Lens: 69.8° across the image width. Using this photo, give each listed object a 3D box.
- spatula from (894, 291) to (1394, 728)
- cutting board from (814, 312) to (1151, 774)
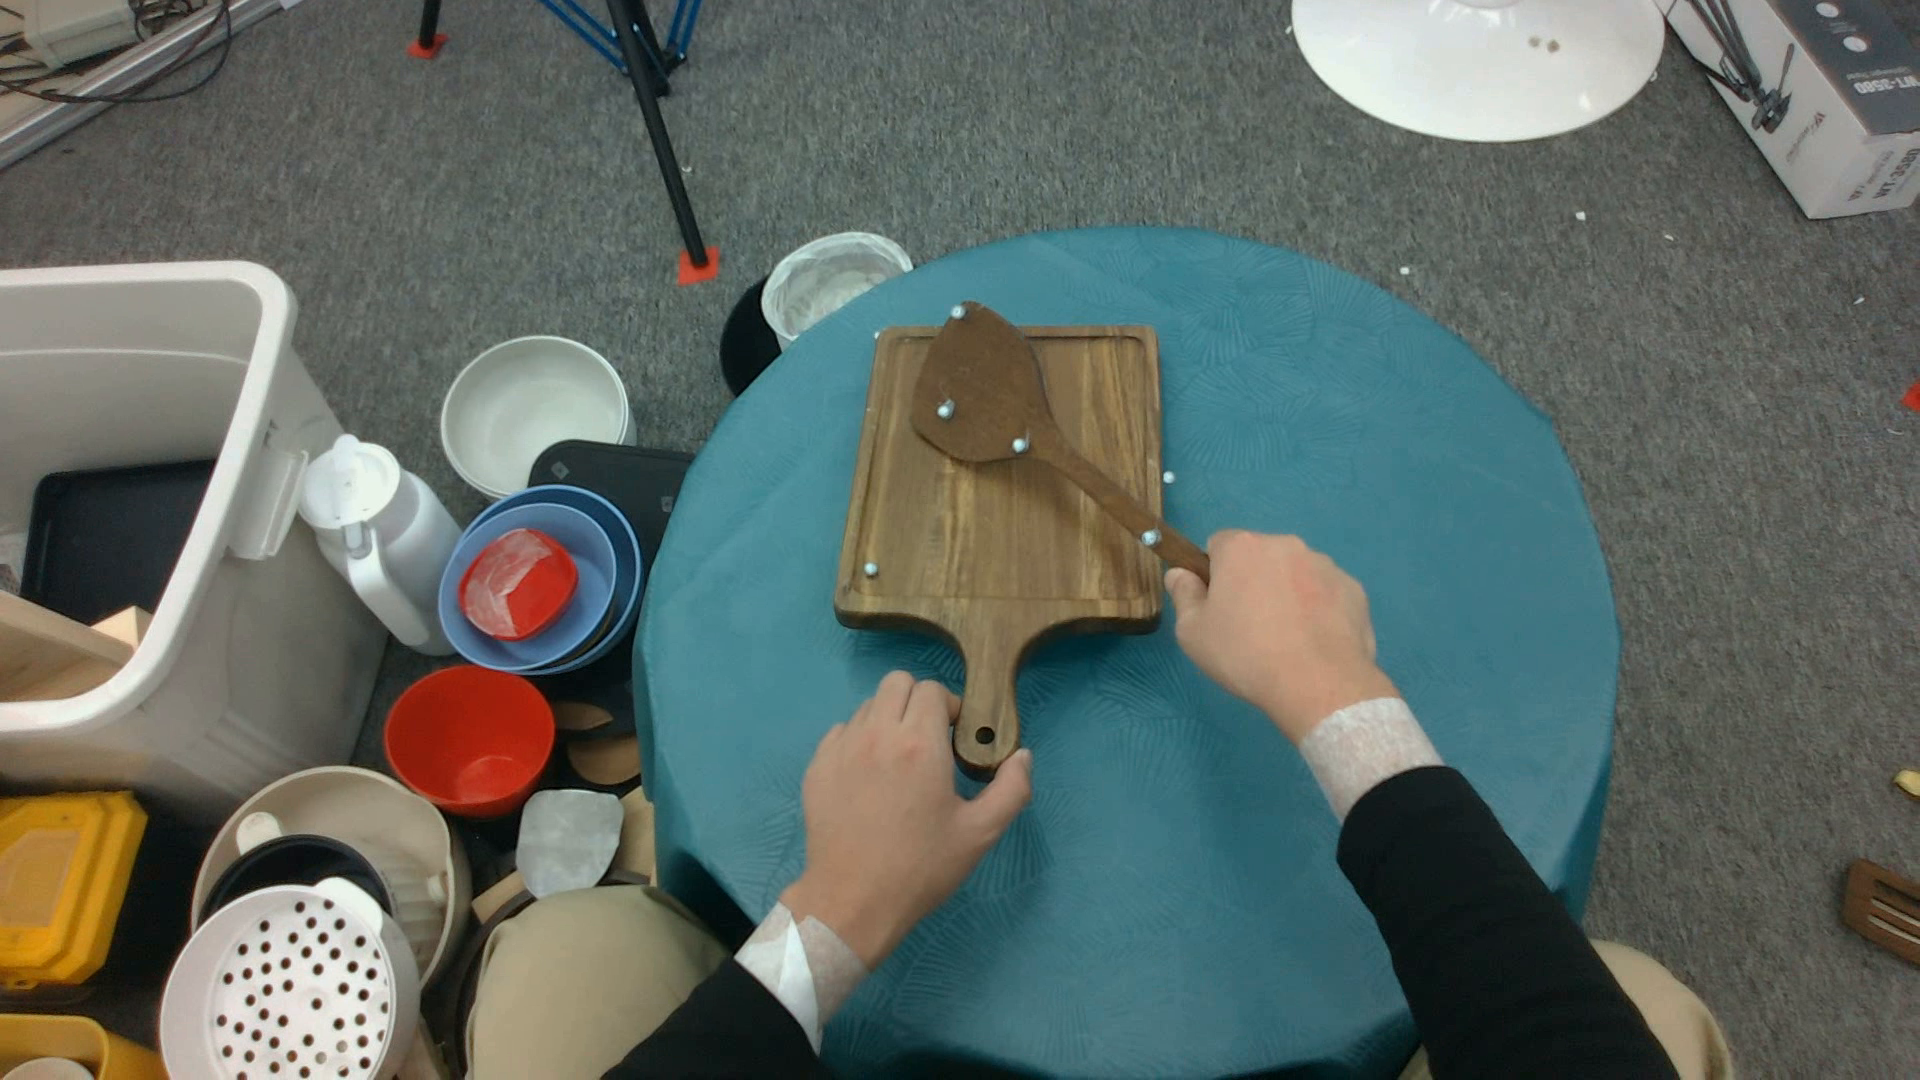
[{"bbox_3d":[0.091,-0.019,0.786,0.016,0.096,0.386,1,33,-49],"label":"spatula"},{"bbox_3d":[0.015,-0.016,0.850,0.201,0.023,0.354,1,51,5],"label":"cutting board"}]
